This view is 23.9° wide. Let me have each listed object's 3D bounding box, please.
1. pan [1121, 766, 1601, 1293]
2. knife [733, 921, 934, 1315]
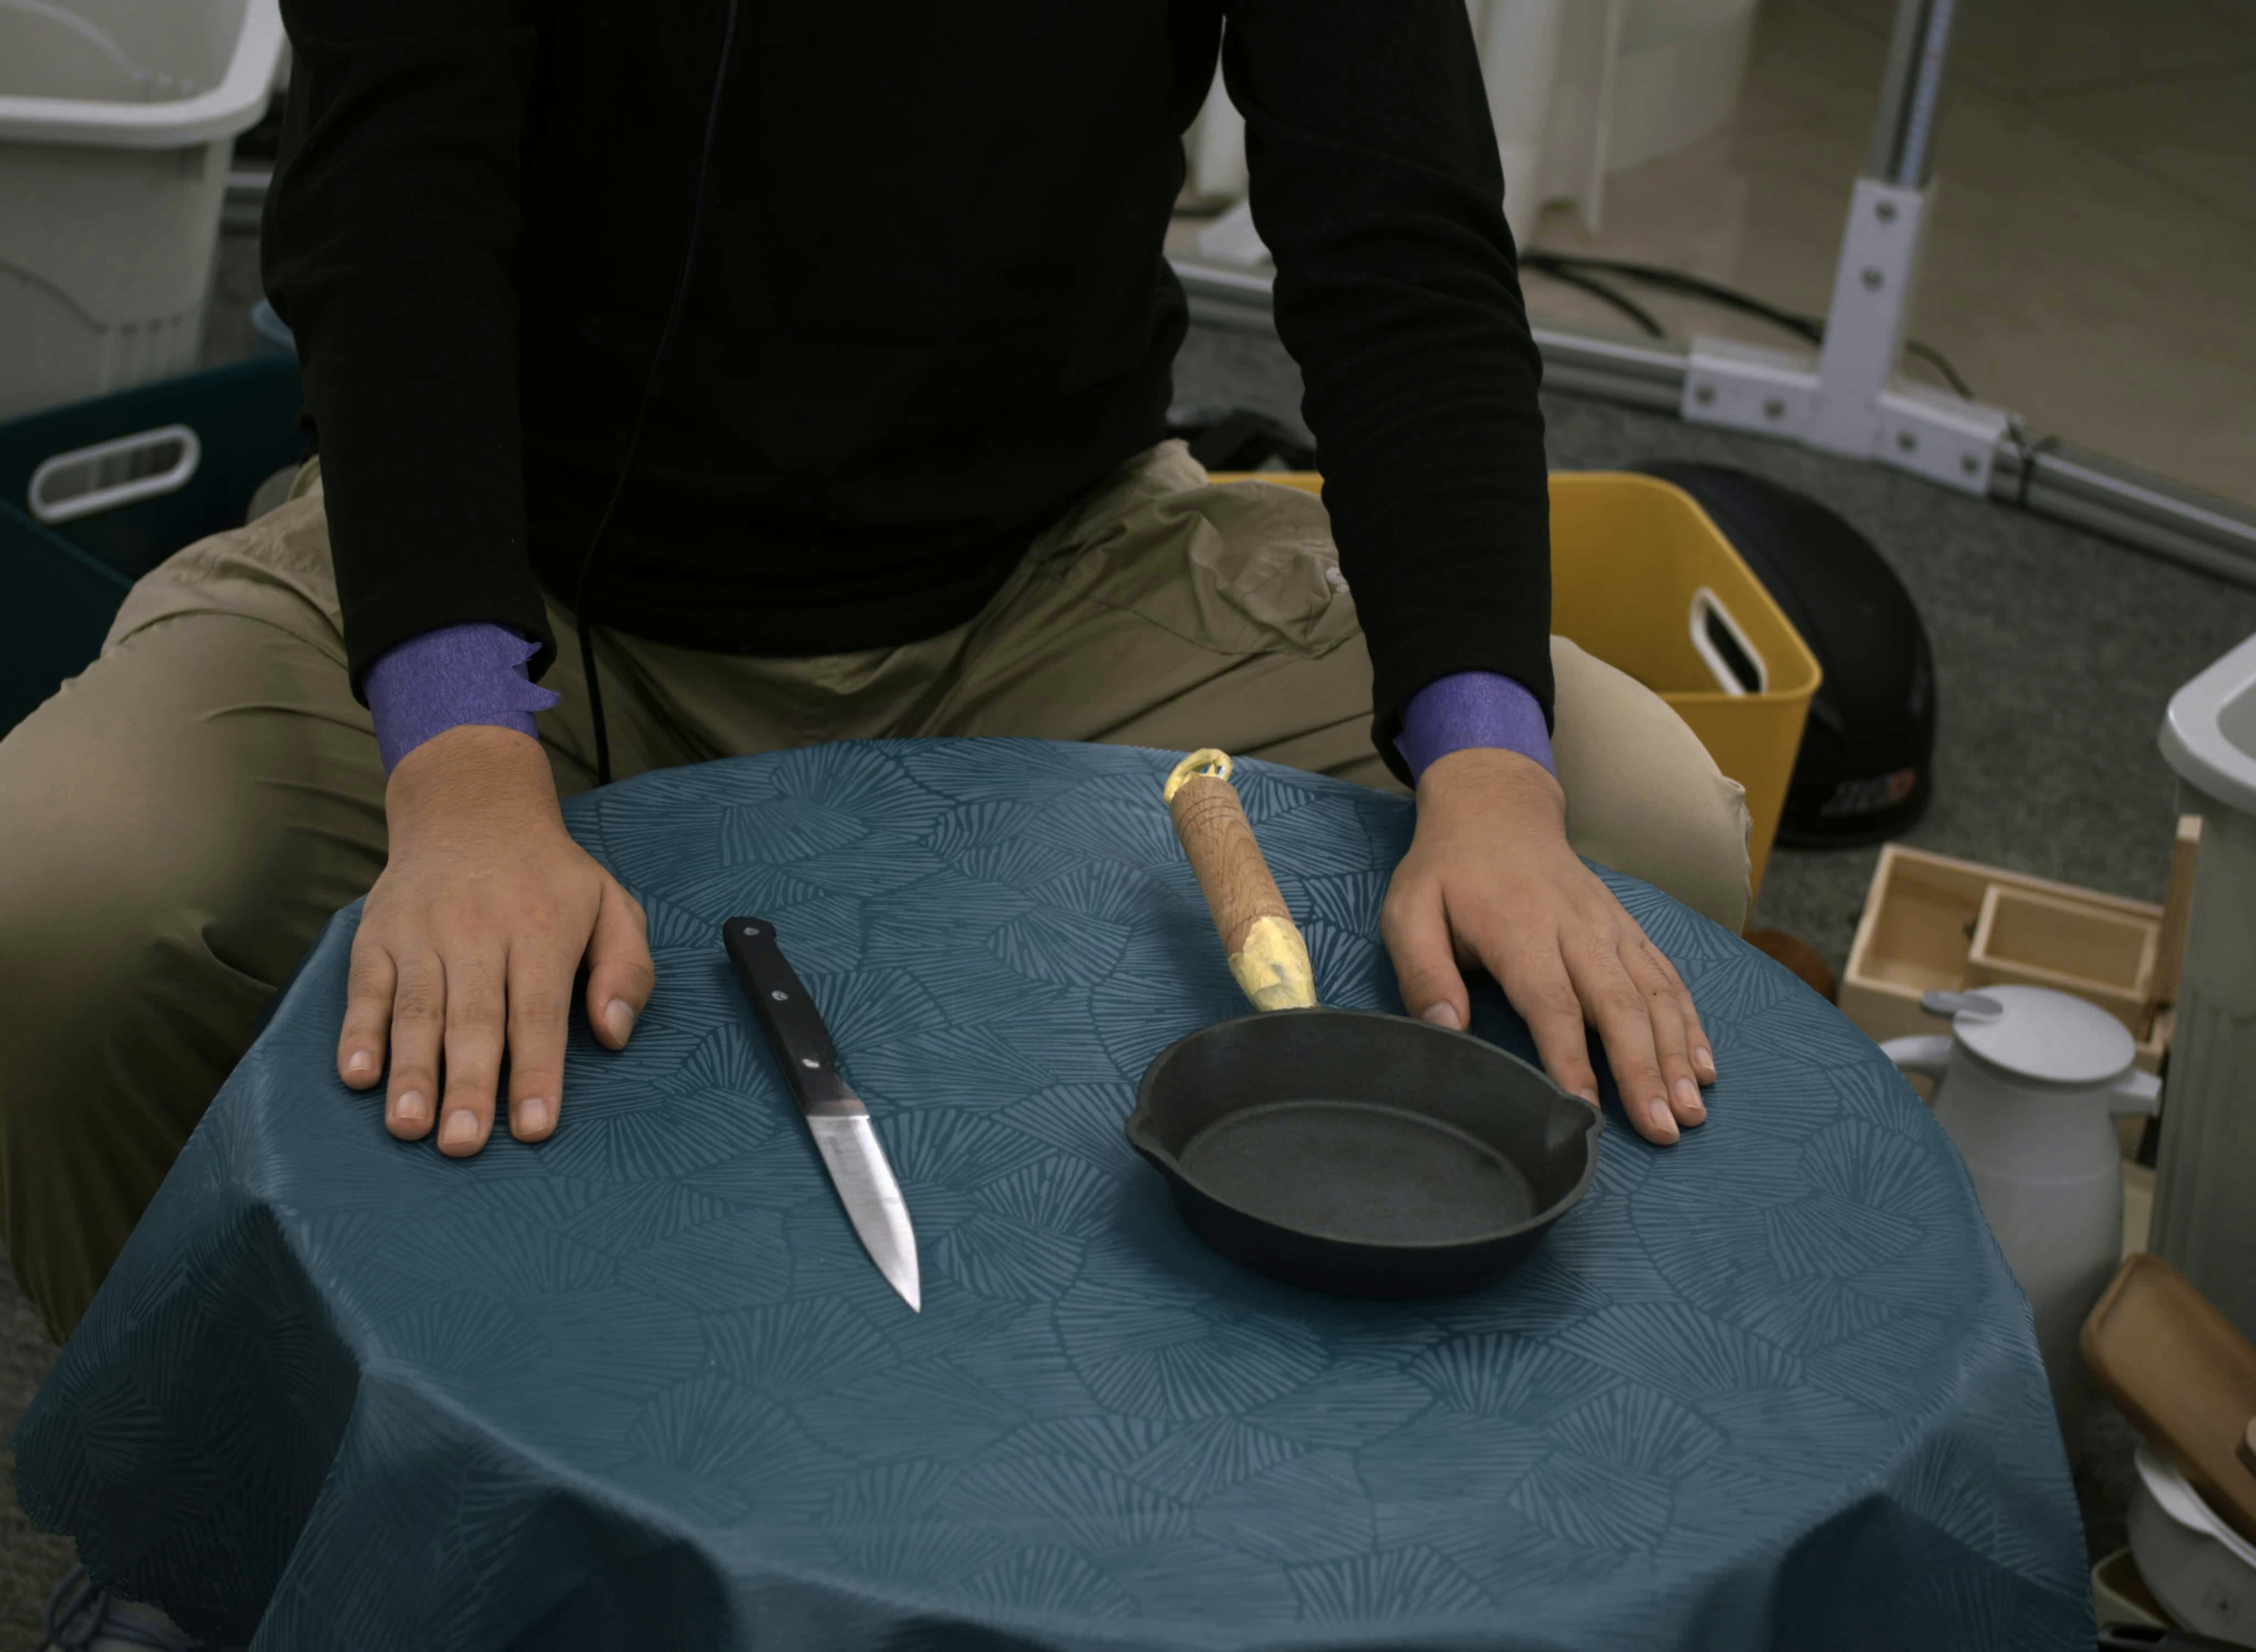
[{"bbox_3d":[0.061,0.069,1.876,0.168,0.049,0.327,0,27,-14],"label":"pan"},{"bbox_3d":[-0.102,0.098,1.820,0.024,0.016,0.240,-2,31,-18],"label":"knife"}]
